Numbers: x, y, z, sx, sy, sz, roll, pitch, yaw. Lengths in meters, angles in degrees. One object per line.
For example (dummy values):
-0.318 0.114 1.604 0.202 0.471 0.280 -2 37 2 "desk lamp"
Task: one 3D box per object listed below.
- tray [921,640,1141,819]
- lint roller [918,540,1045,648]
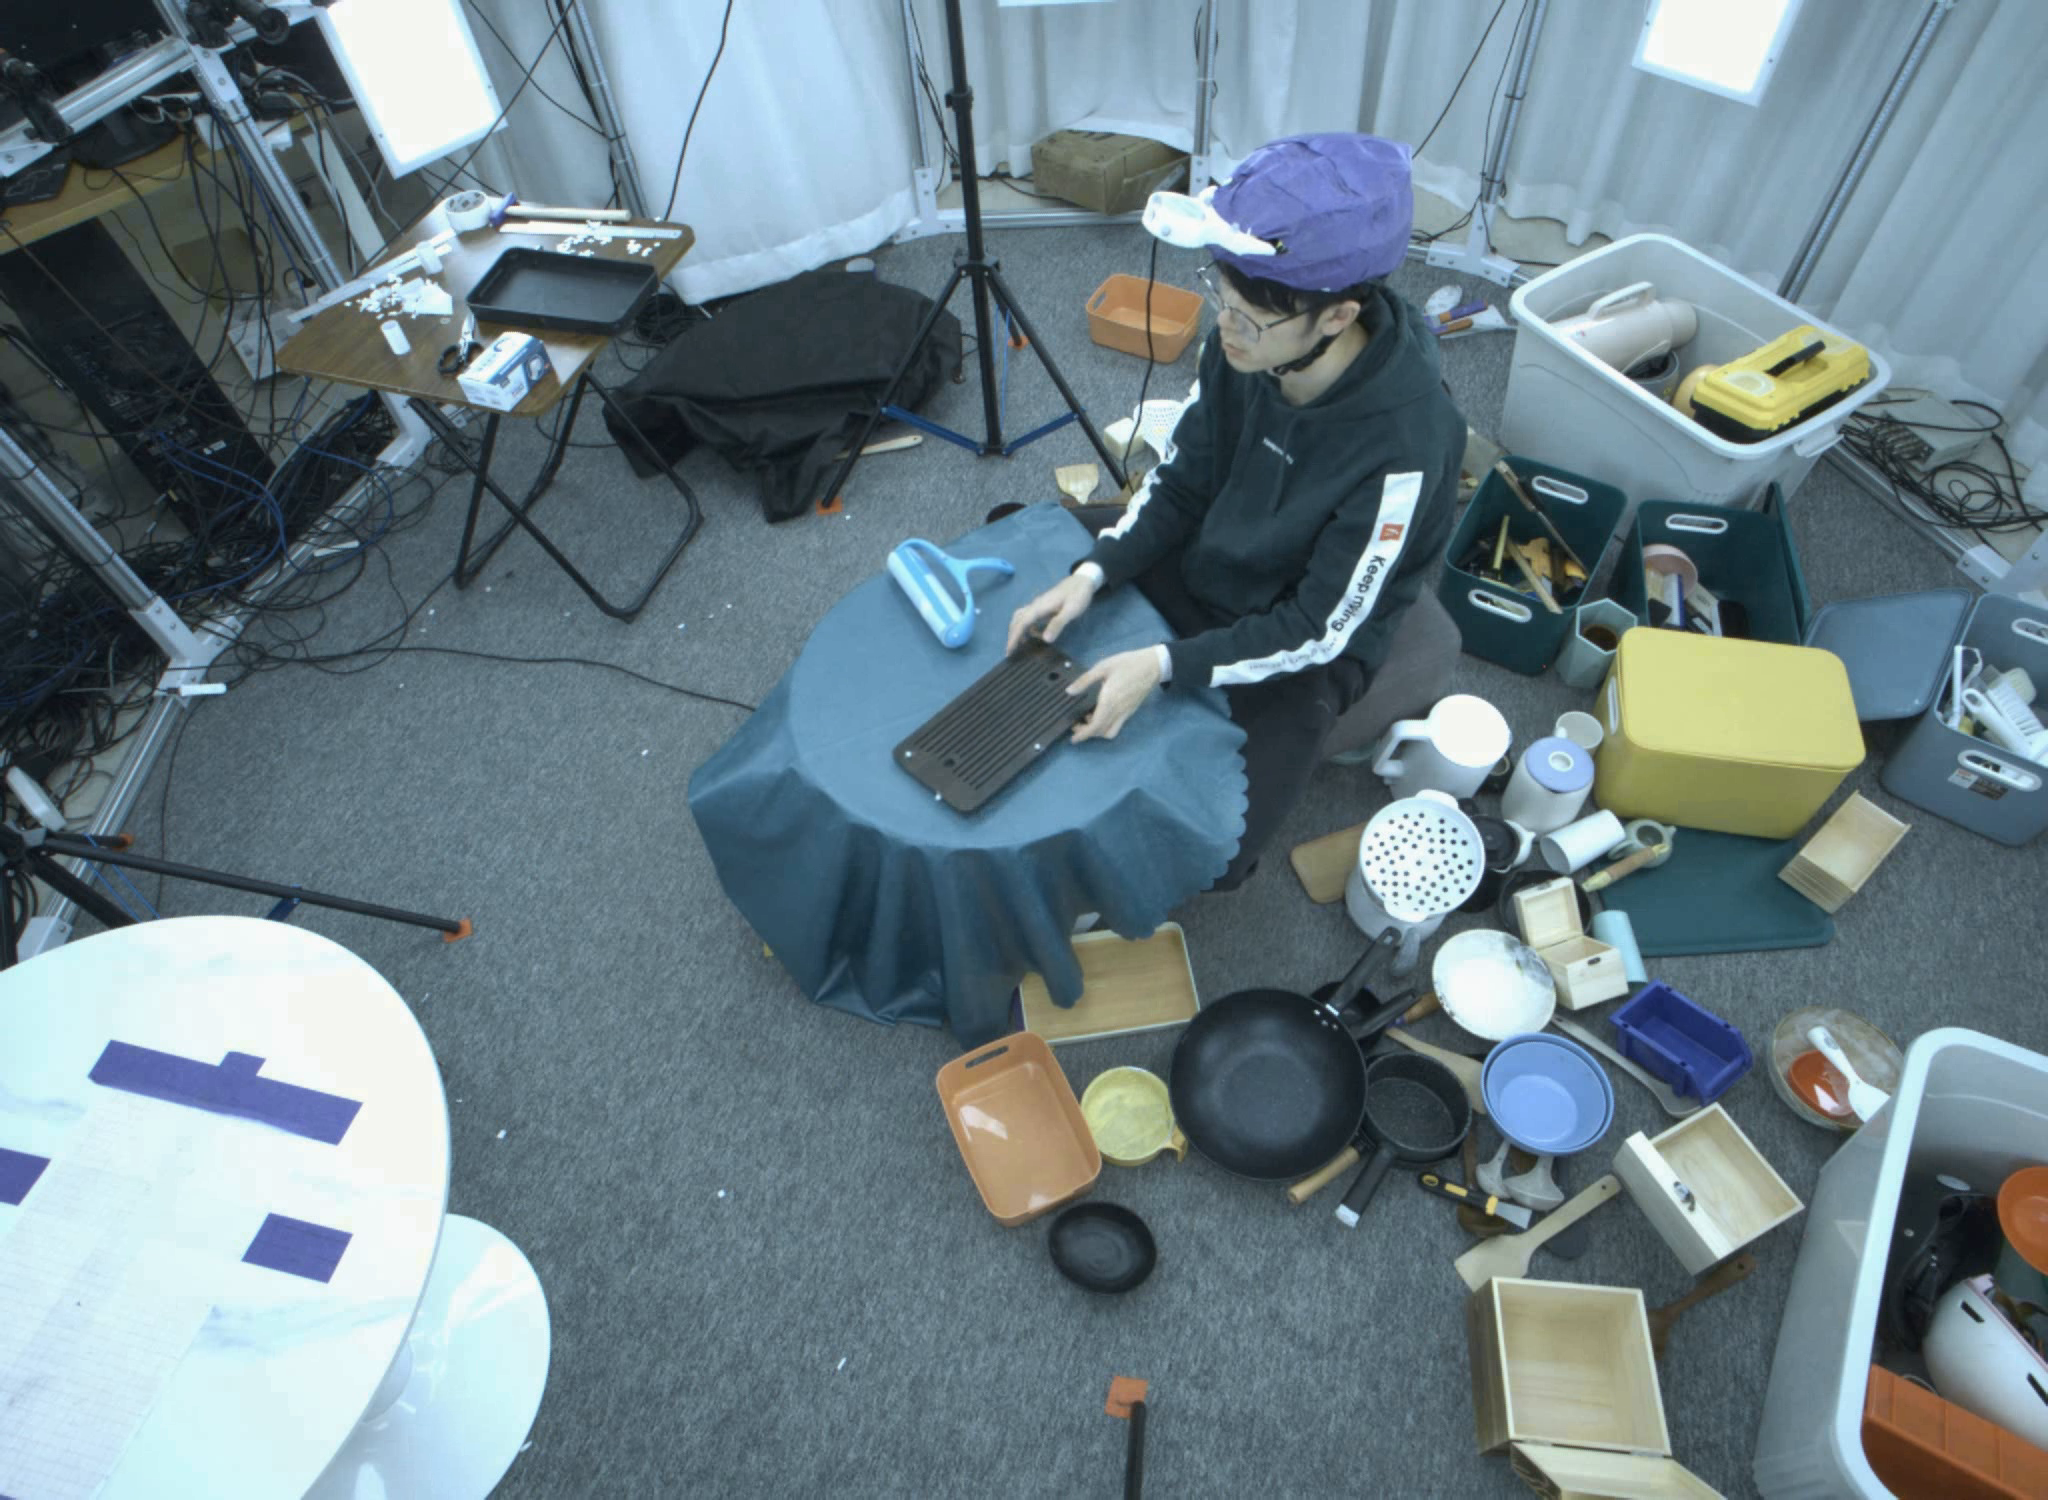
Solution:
0.012 -0.034 1.791 0.308 0.019 0.167 -39 59 -23 "tray"
-0.052 -0.269 1.940 0.181 0.069 0.224 -28 56 -15 "lint roller"
